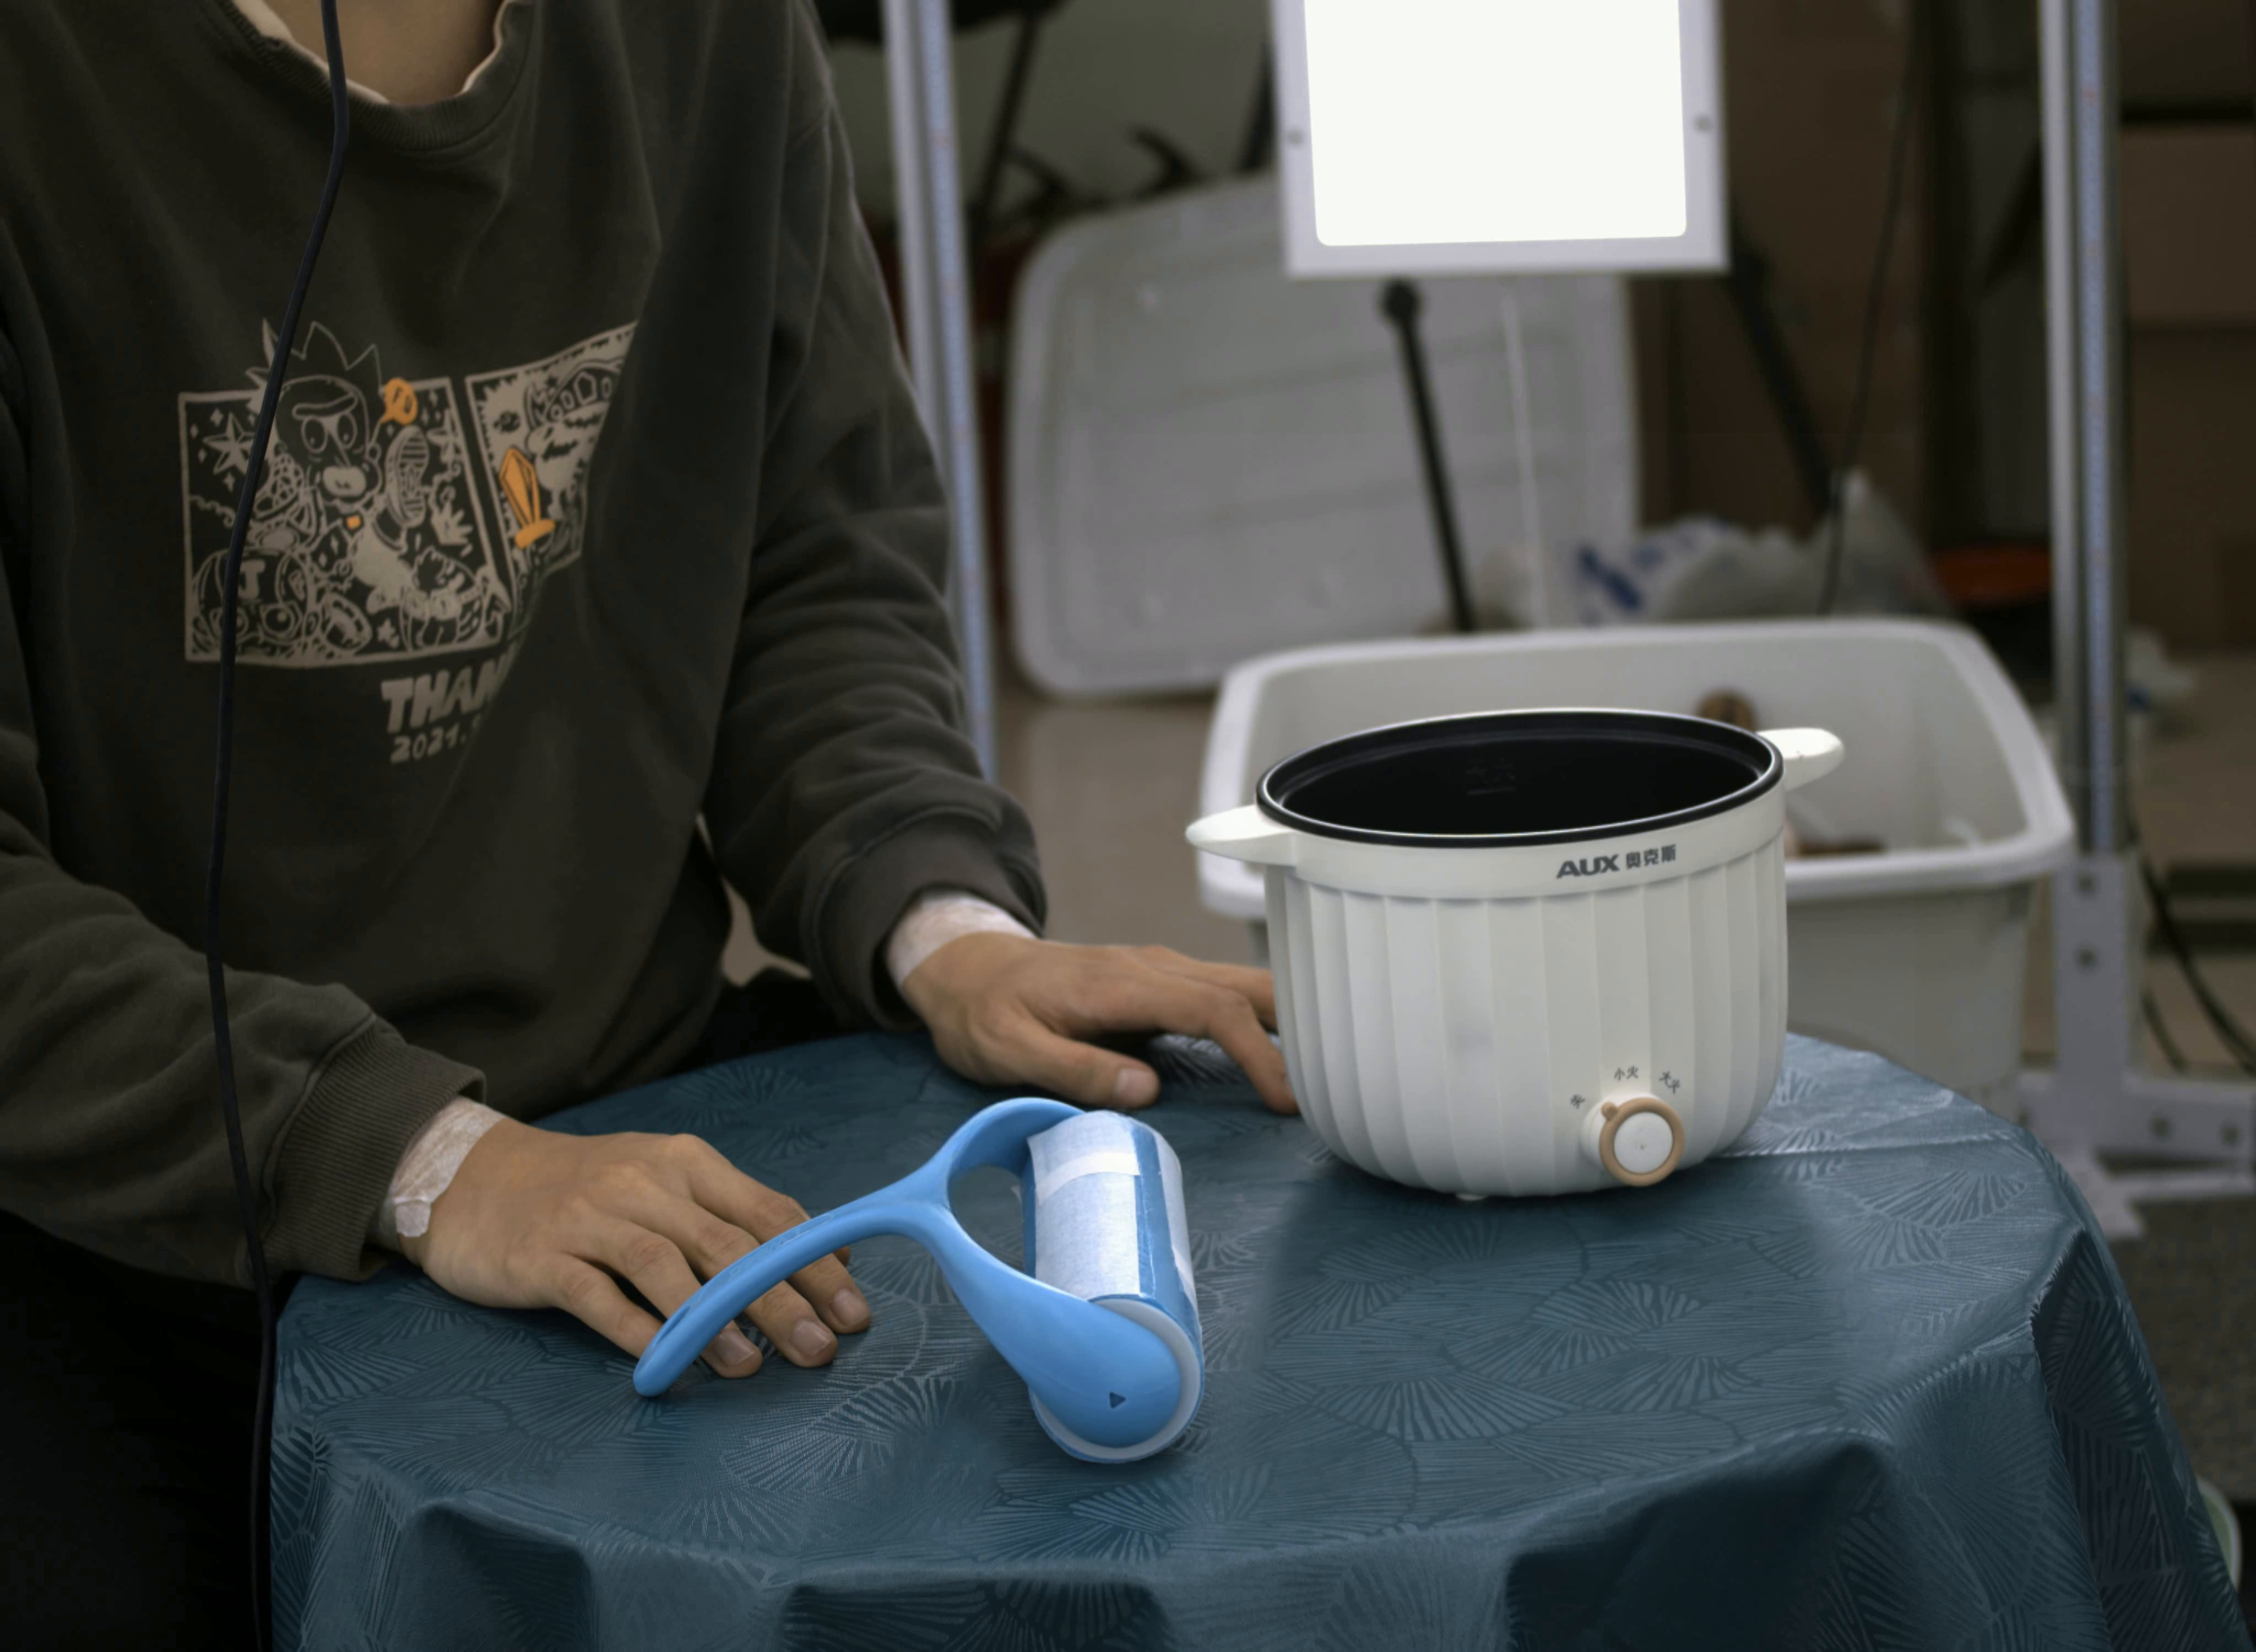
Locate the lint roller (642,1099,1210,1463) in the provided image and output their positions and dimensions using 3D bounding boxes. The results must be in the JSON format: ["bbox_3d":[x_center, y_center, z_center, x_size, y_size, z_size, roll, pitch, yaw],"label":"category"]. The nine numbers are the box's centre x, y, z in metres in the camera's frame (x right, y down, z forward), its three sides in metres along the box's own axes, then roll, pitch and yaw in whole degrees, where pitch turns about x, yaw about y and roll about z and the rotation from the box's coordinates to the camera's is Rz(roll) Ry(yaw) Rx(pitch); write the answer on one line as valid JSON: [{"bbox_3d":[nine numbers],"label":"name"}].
[{"bbox_3d":[-0.064,0.144,1.727,0.179,0.068,0.229,-4,15,-2],"label":"lint roller"}]

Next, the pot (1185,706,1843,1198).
[{"bbox_3d":[0.142,0.045,1.884,0.237,0.143,0.192,-10,12,-14],"label":"pot"}]
